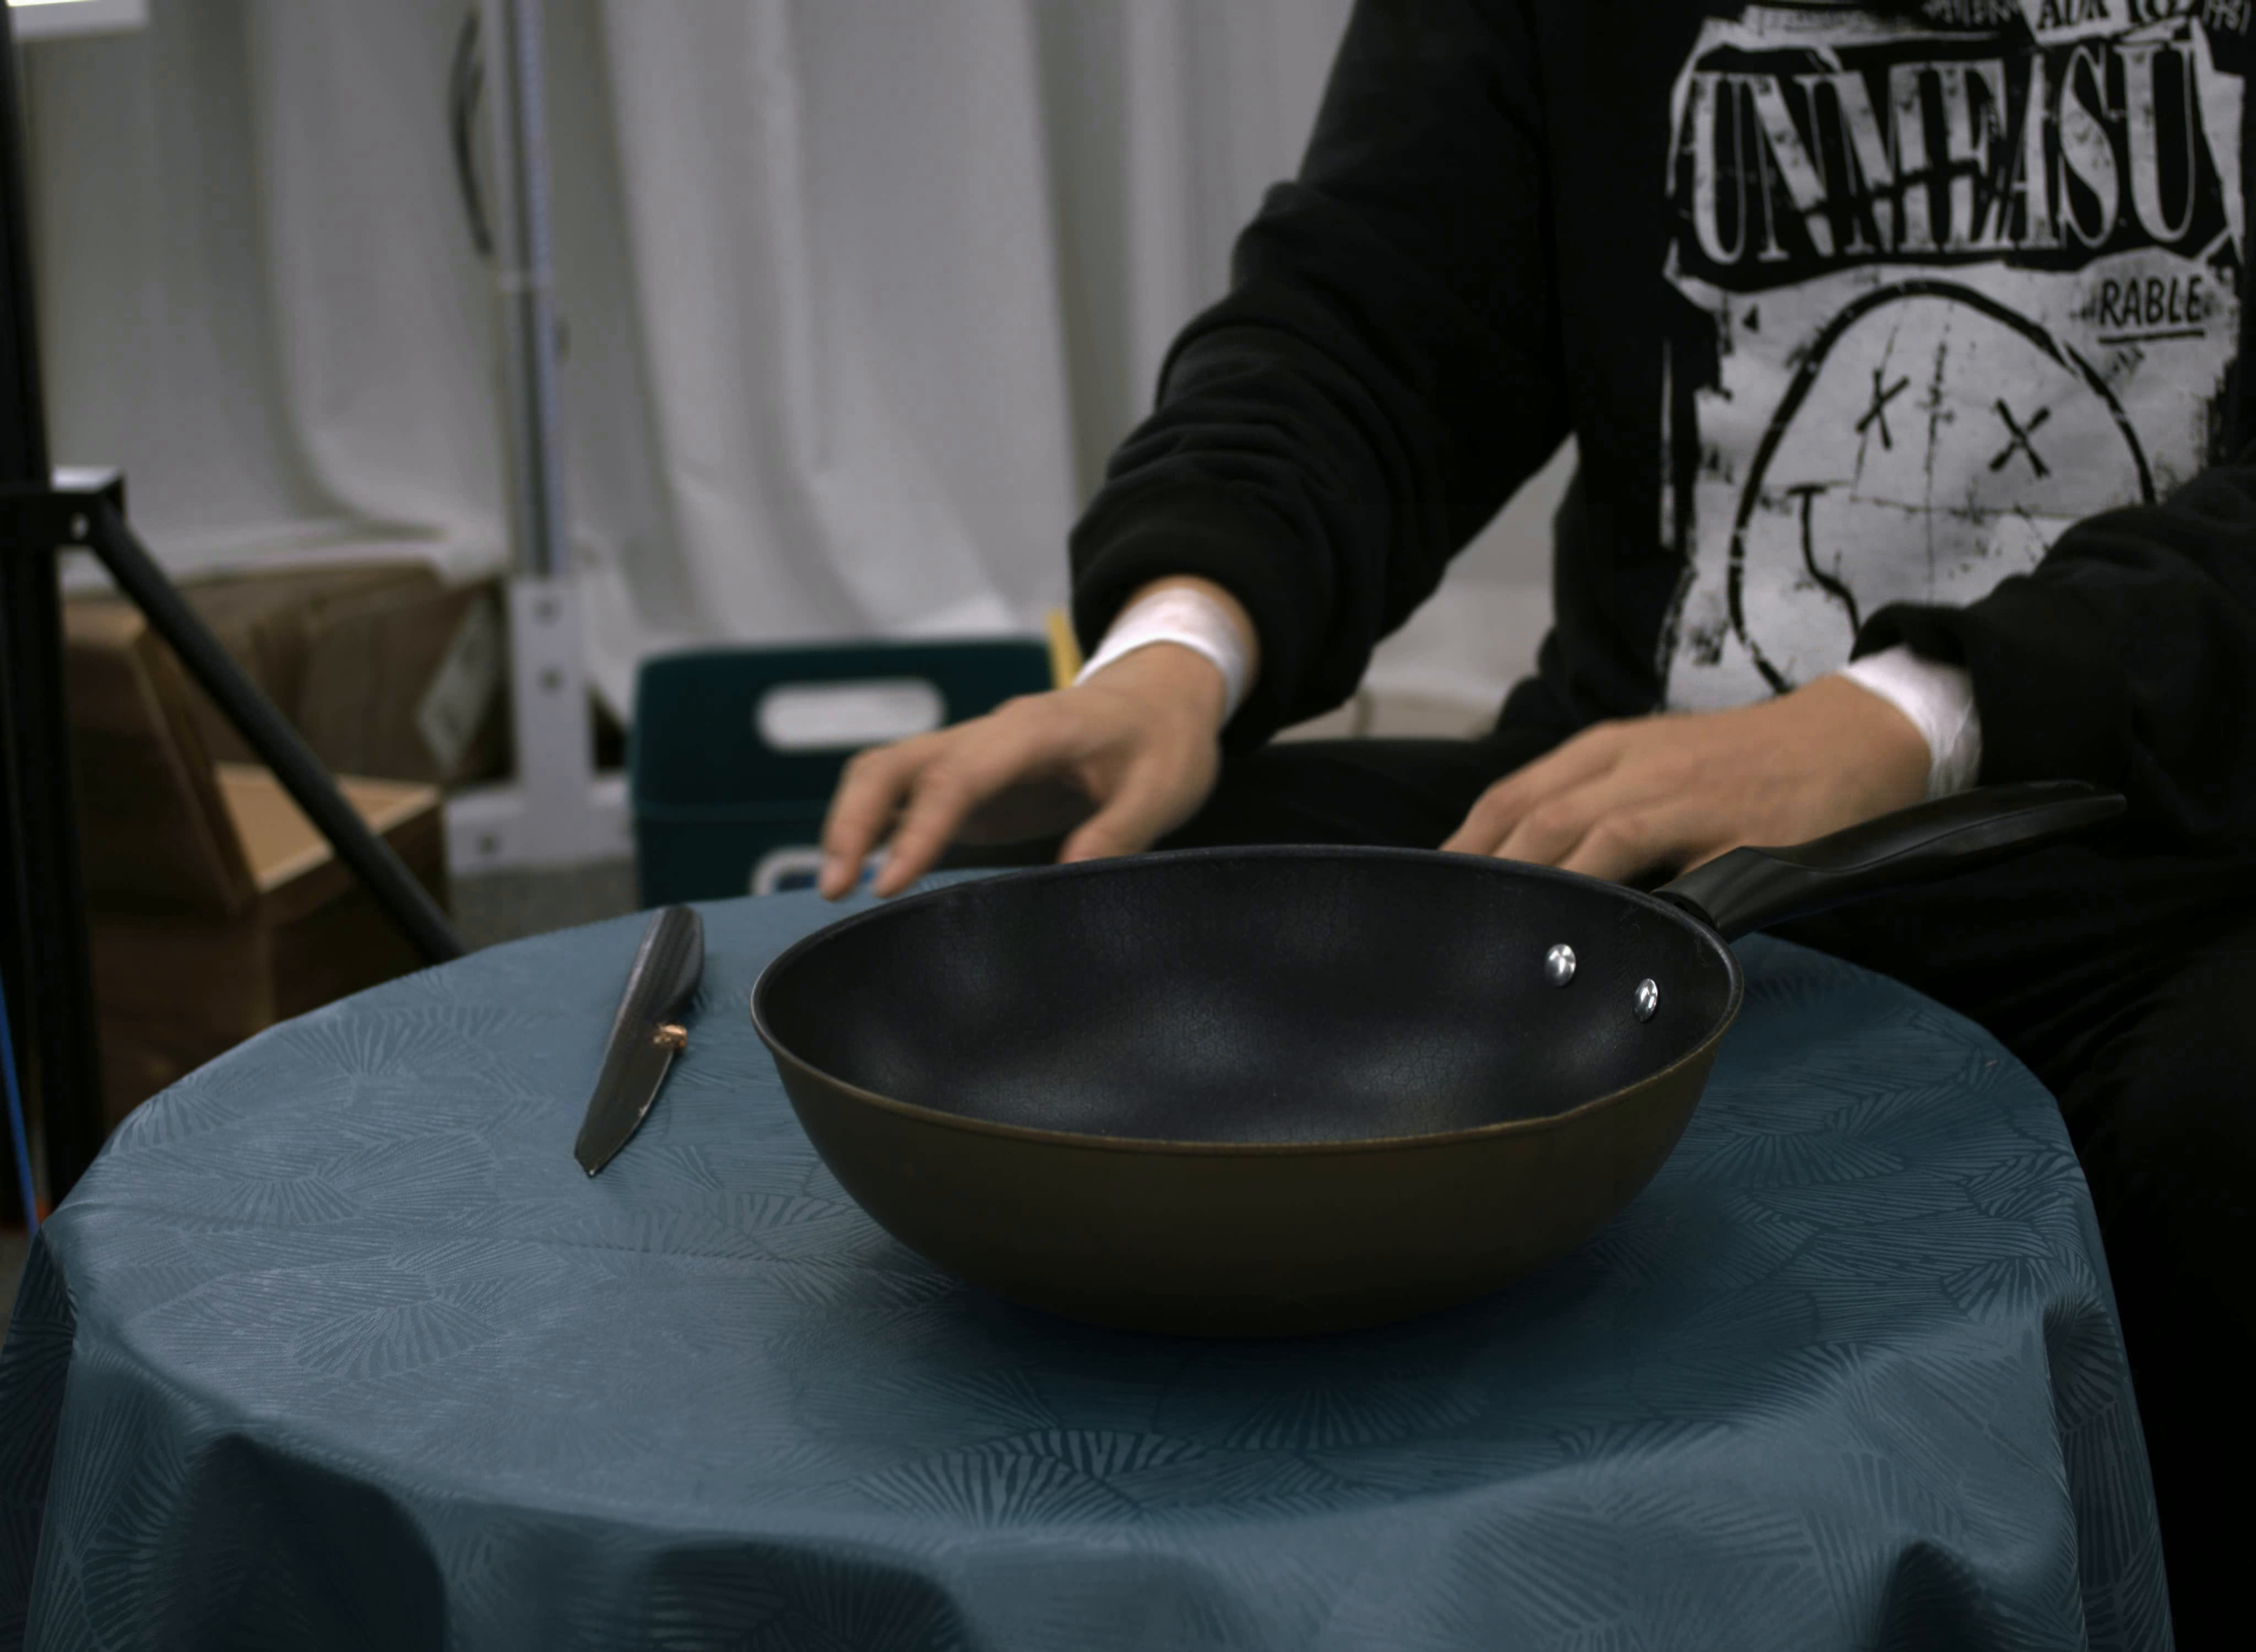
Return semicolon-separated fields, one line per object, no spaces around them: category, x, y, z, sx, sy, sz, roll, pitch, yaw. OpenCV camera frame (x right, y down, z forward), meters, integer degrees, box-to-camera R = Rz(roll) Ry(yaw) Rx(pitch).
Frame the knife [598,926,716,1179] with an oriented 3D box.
knife;-0.152;0.071;1.695;0.026;0.017;0.226;10;17;0

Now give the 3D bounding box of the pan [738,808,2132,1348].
pan;0.107;0.067;1.536;0.453;0.087;0.294;-11;18;-30
